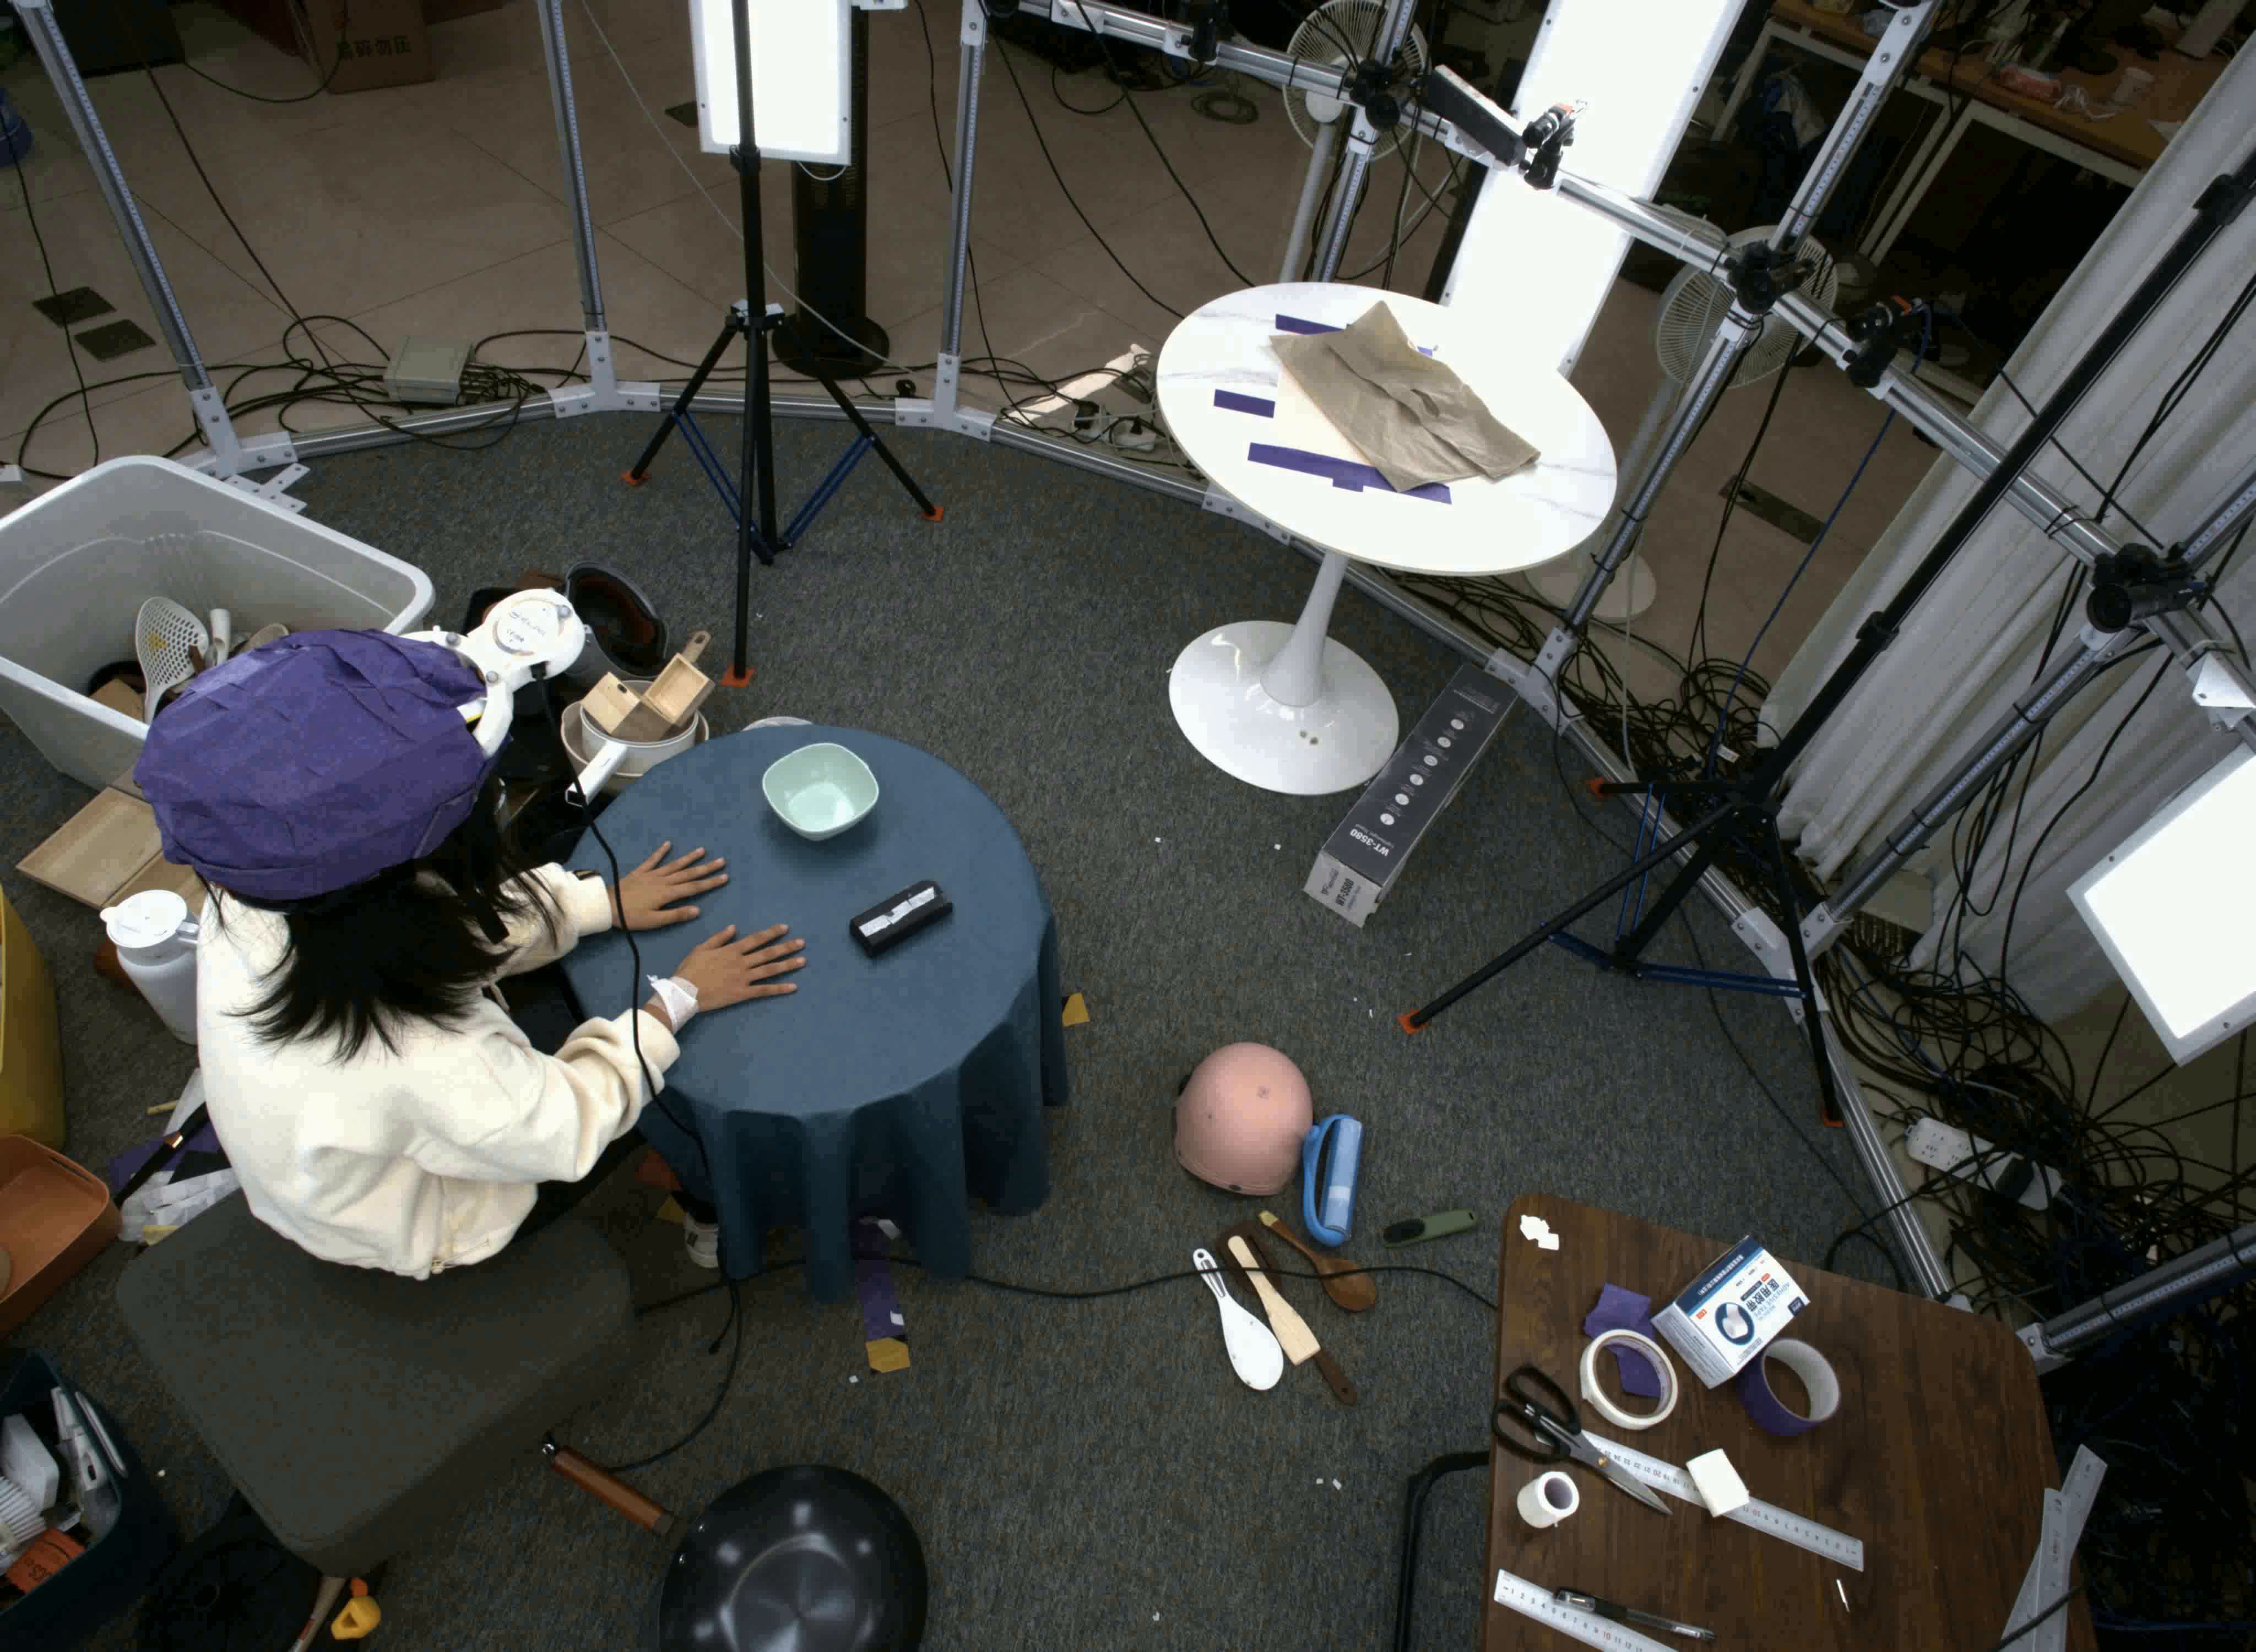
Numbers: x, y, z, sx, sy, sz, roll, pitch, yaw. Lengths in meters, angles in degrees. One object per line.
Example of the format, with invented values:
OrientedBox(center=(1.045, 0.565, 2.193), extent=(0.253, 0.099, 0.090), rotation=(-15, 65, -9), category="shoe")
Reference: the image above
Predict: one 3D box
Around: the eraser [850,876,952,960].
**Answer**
OrientedBox(center=(-0.287, 0.113, 1.653), extent=(0.126, 0.031, 0.052), rotation=(-34, 65, -30), category="eraser")

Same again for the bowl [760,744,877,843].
OrientedBox(center=(-0.408, -0.035, 1.713), extent=(0.151, 0.060, 0.148), rotation=(7, 50, -7), category="bowl")
